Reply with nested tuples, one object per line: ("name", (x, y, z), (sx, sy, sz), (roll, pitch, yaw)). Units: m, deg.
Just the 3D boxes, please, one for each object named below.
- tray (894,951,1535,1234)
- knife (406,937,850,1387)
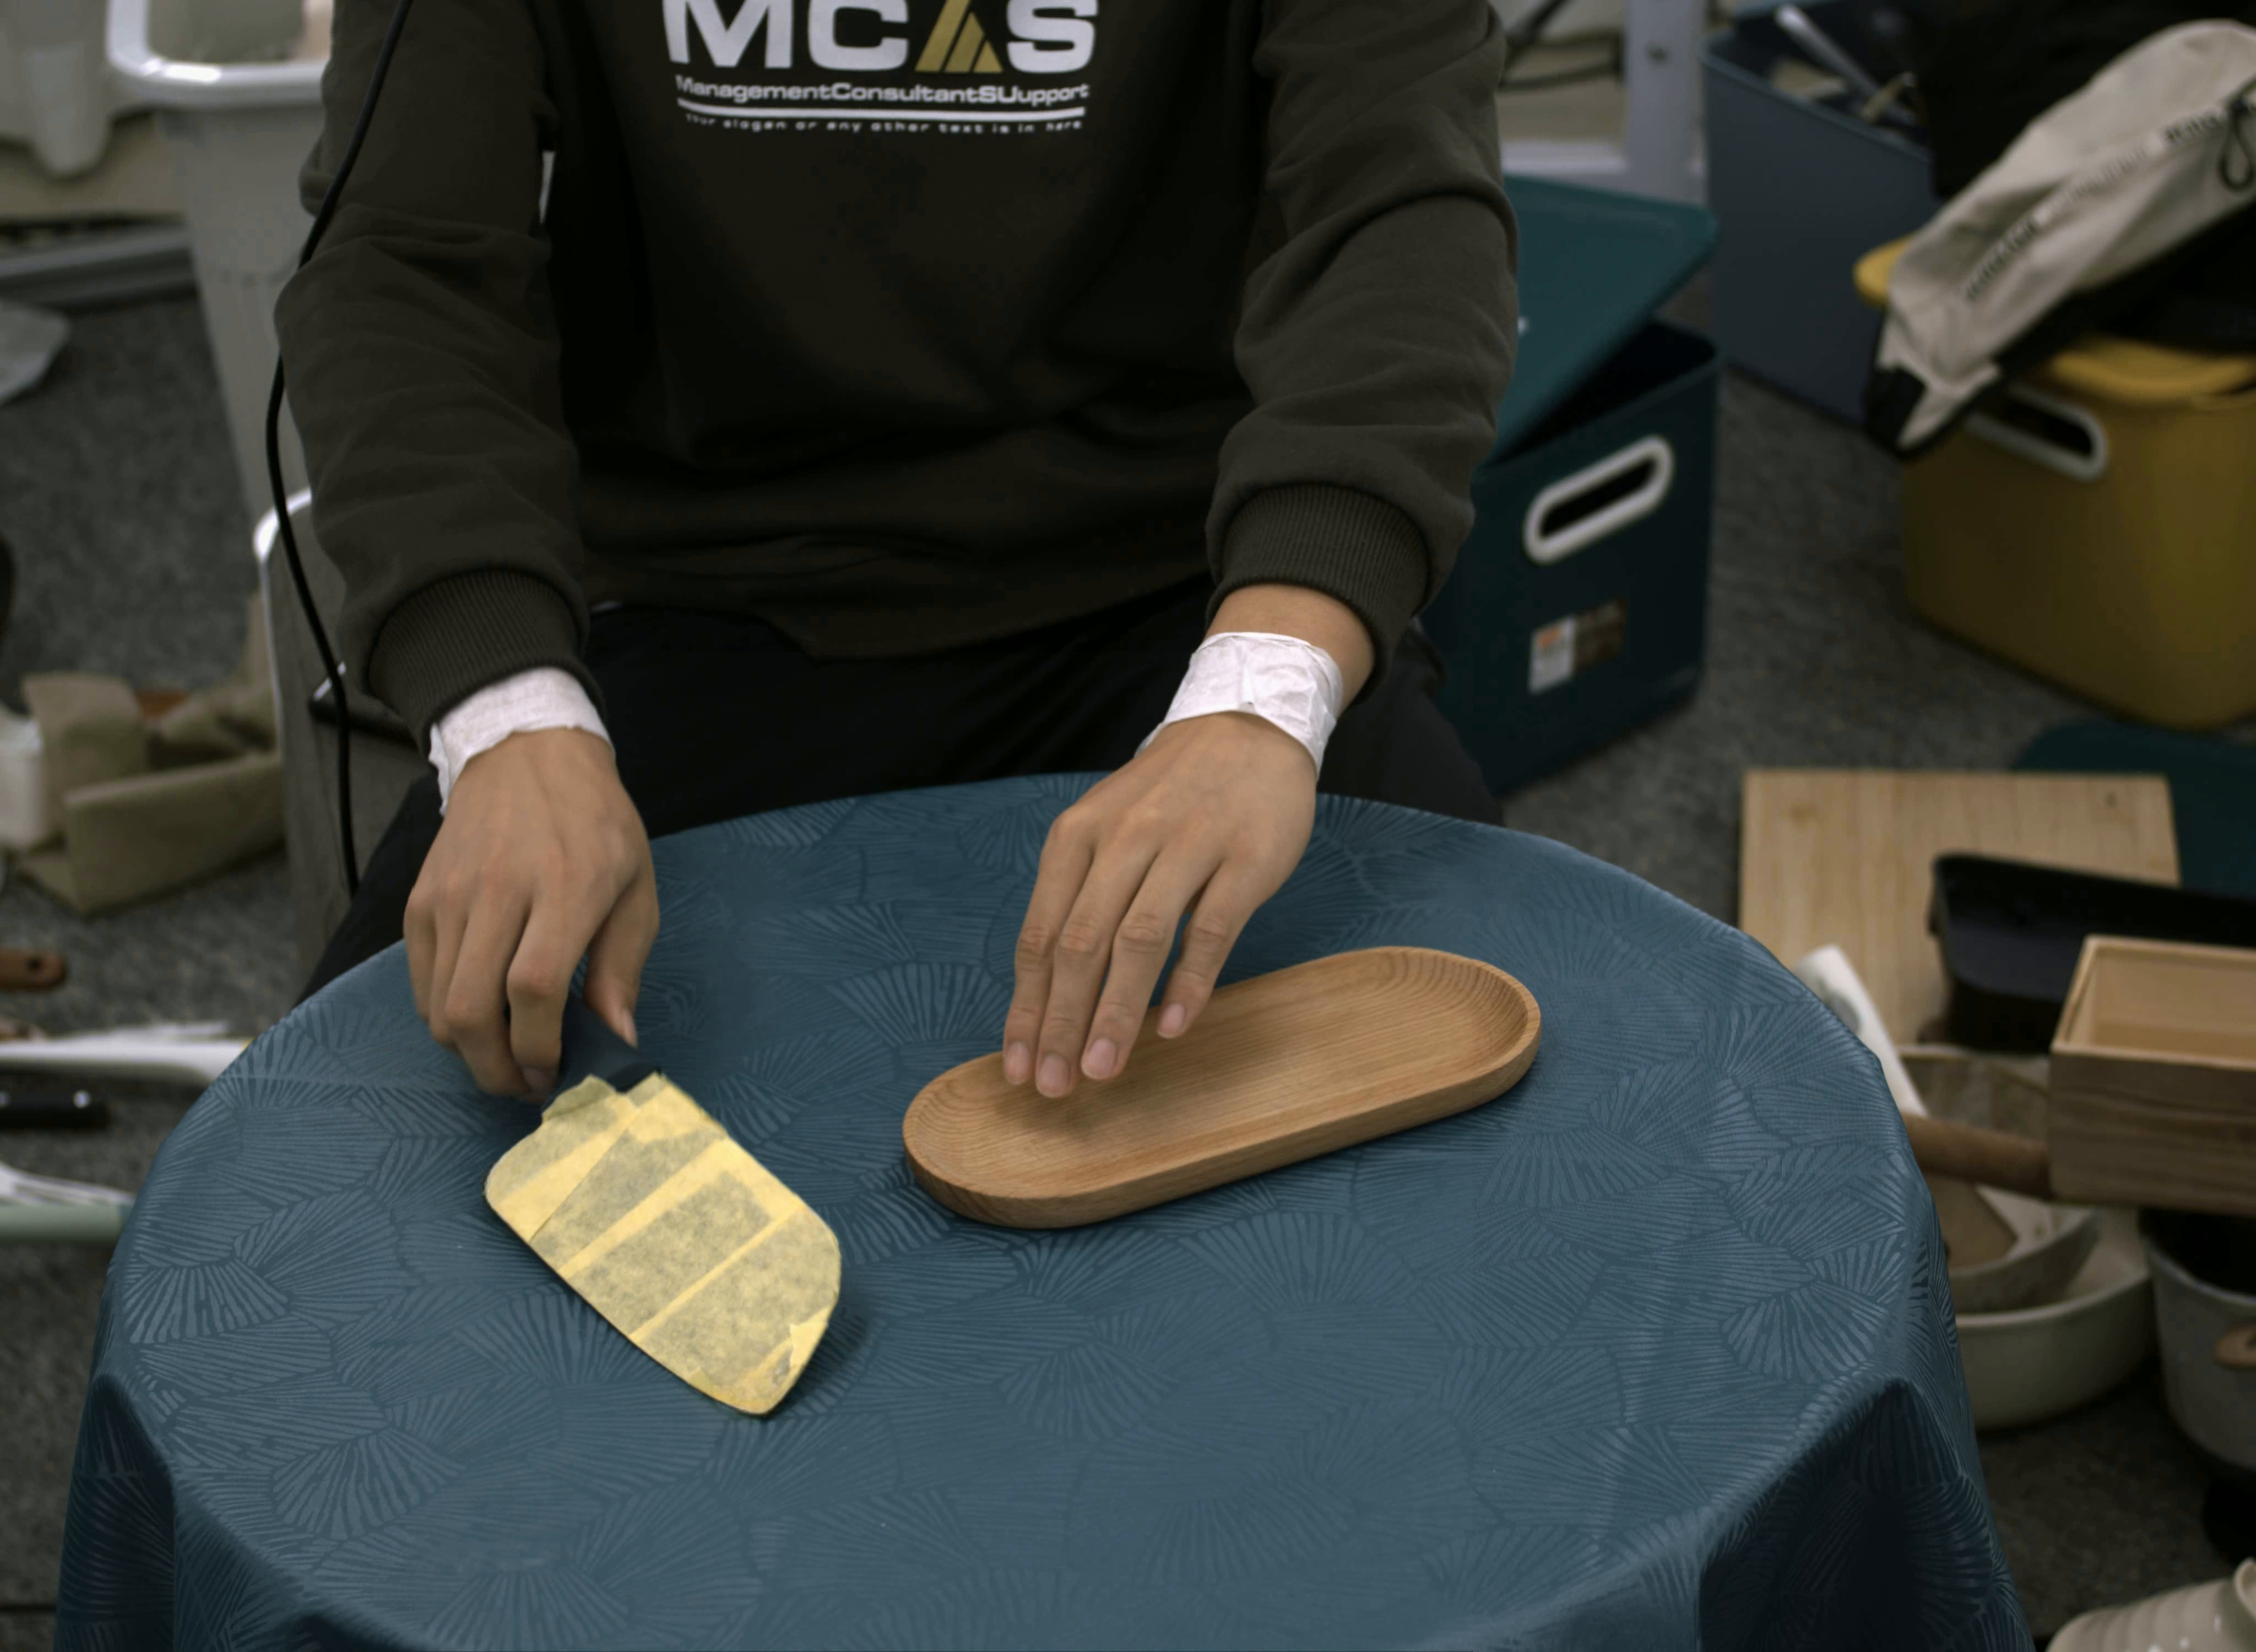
("tray", (0.031, 0.090, 1.902), (0.232, 0.020, 0.102), (-16, 29, -22))
("knife", (-0.177, 0.111, 1.860), (0.081, 0.027, 0.291), (-31, 39, -18))
